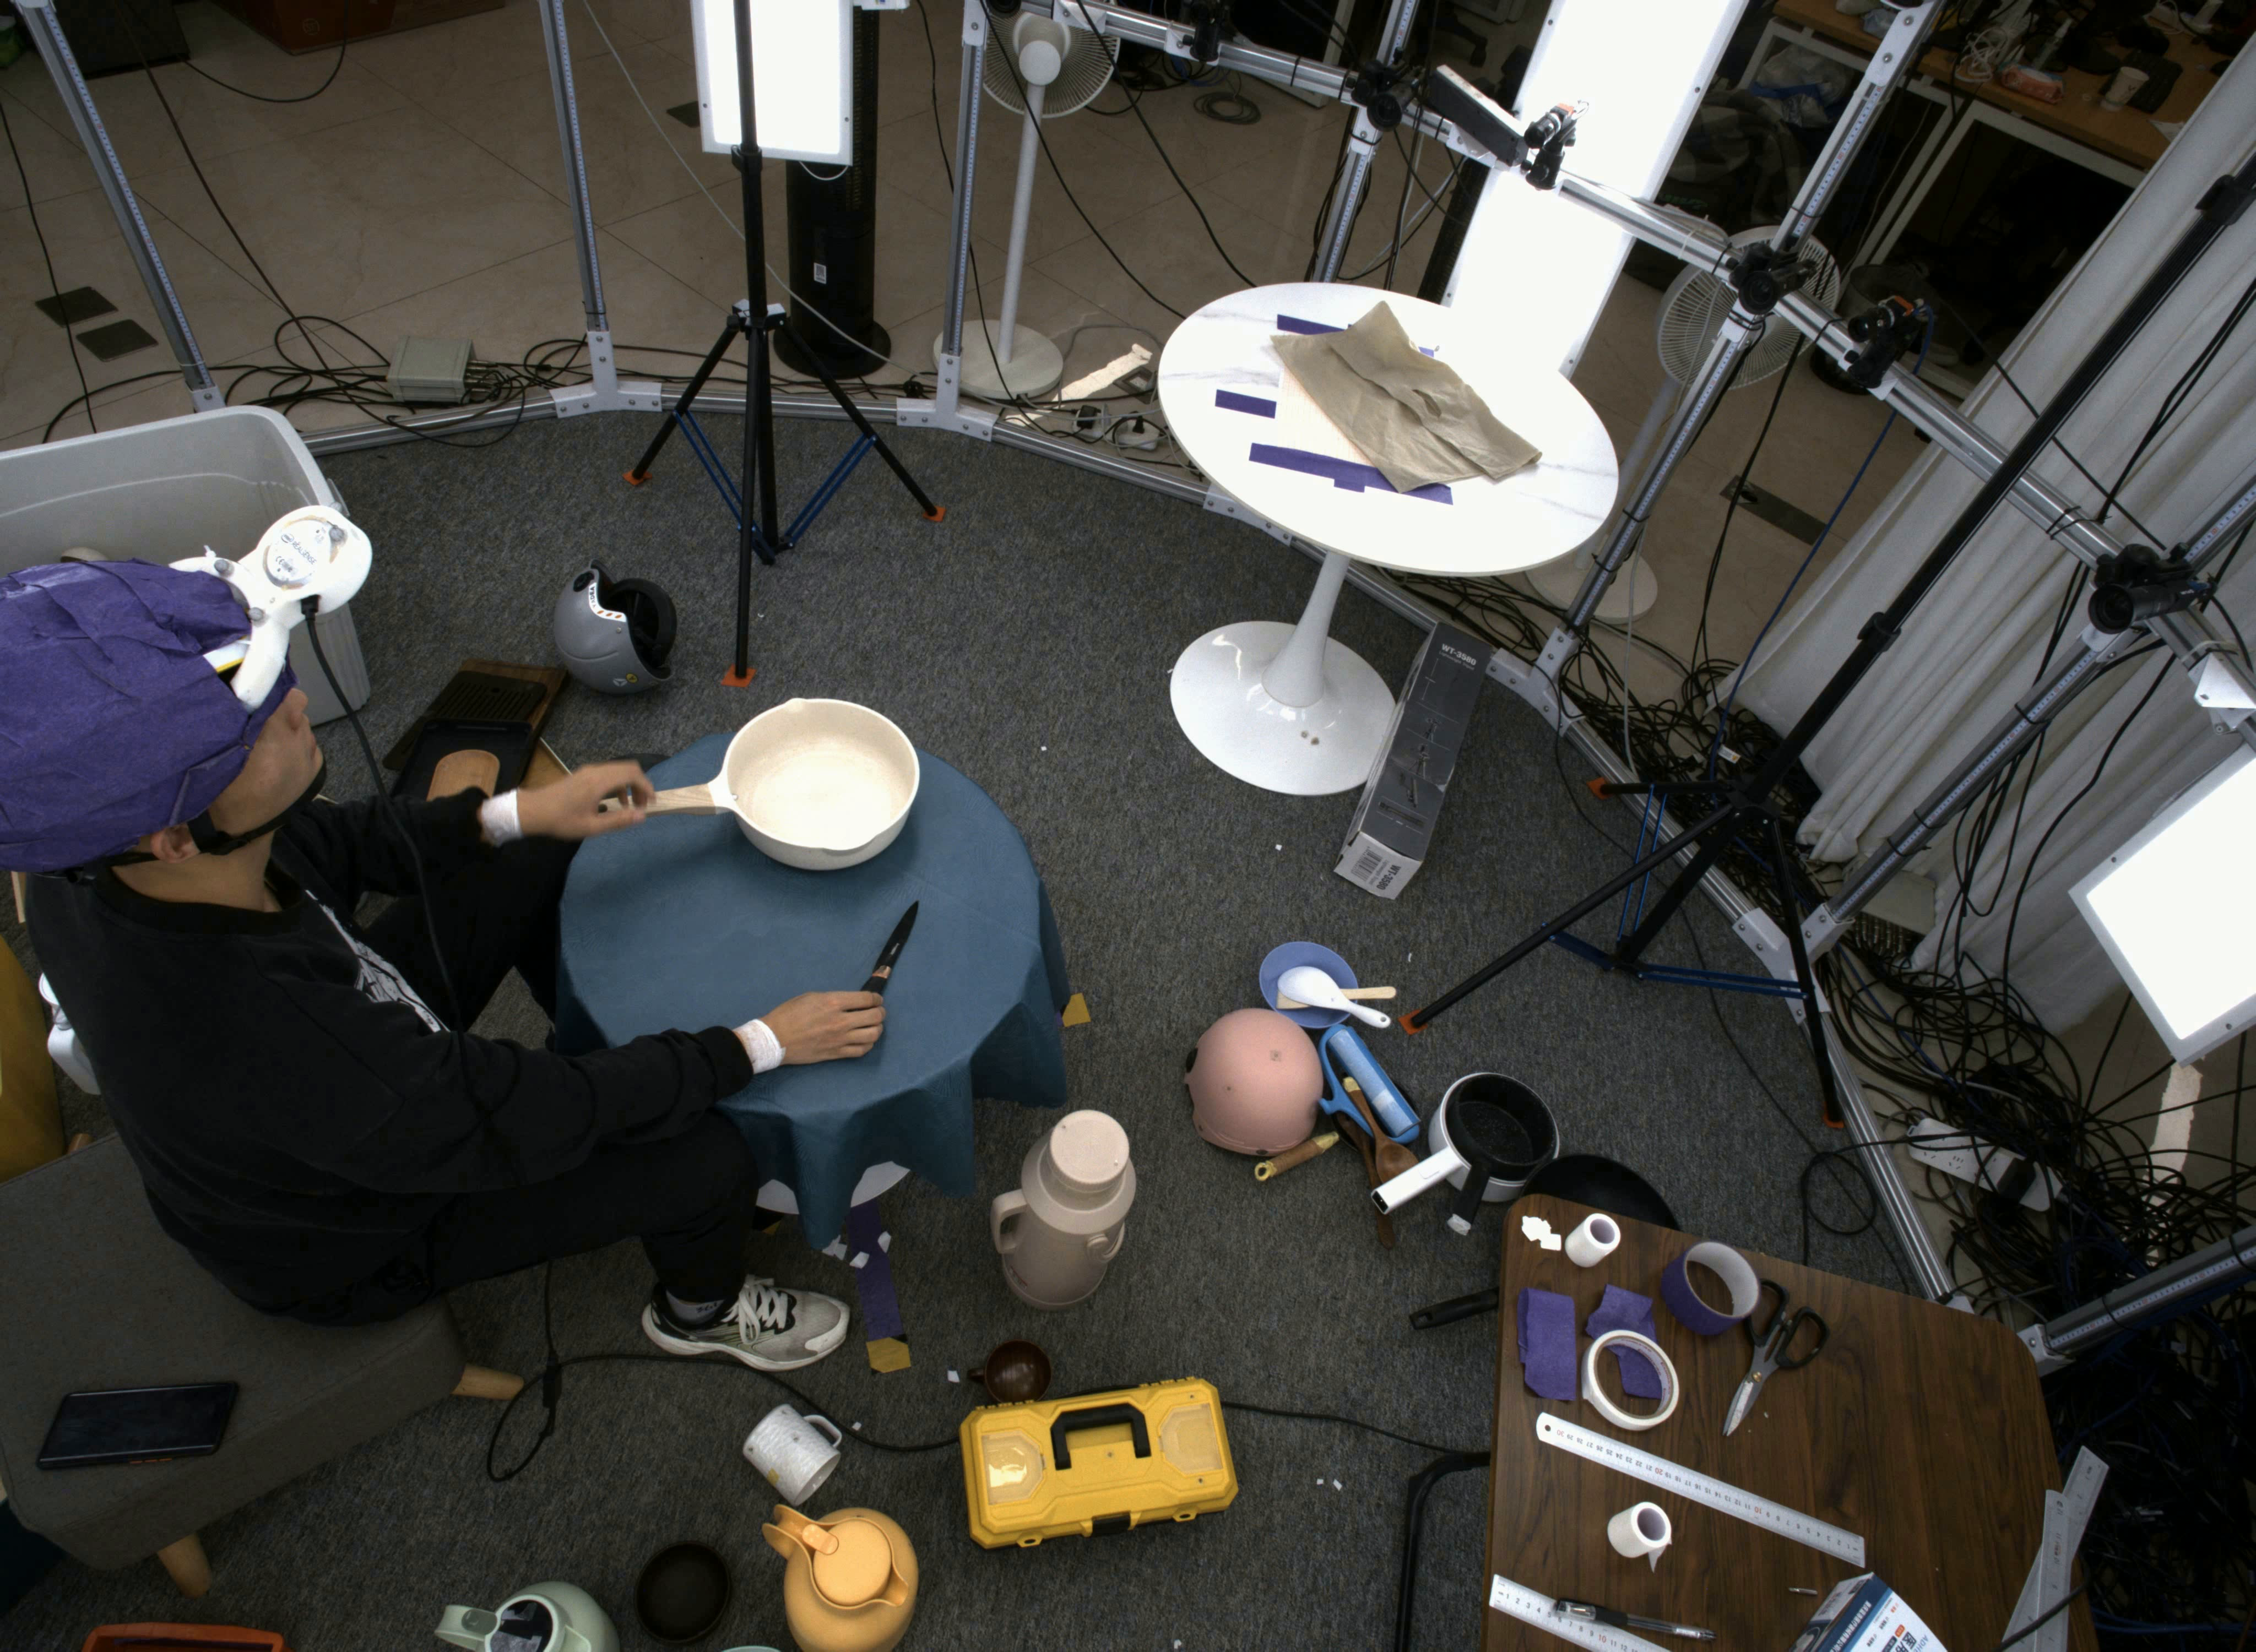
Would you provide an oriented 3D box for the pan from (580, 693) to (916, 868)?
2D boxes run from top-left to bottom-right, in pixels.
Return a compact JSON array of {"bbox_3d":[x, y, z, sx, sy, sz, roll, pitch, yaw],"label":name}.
[{"bbox_3d":[-0.487,-0.036,1.668,0.437,0.104,0.257,-16,61,-24],"label":"pan"}]

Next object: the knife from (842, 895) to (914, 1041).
[{"bbox_3d":[-0.304,0.171,1.617,0.026,0.017,0.223,22,50,-1],"label":"knife"}]
